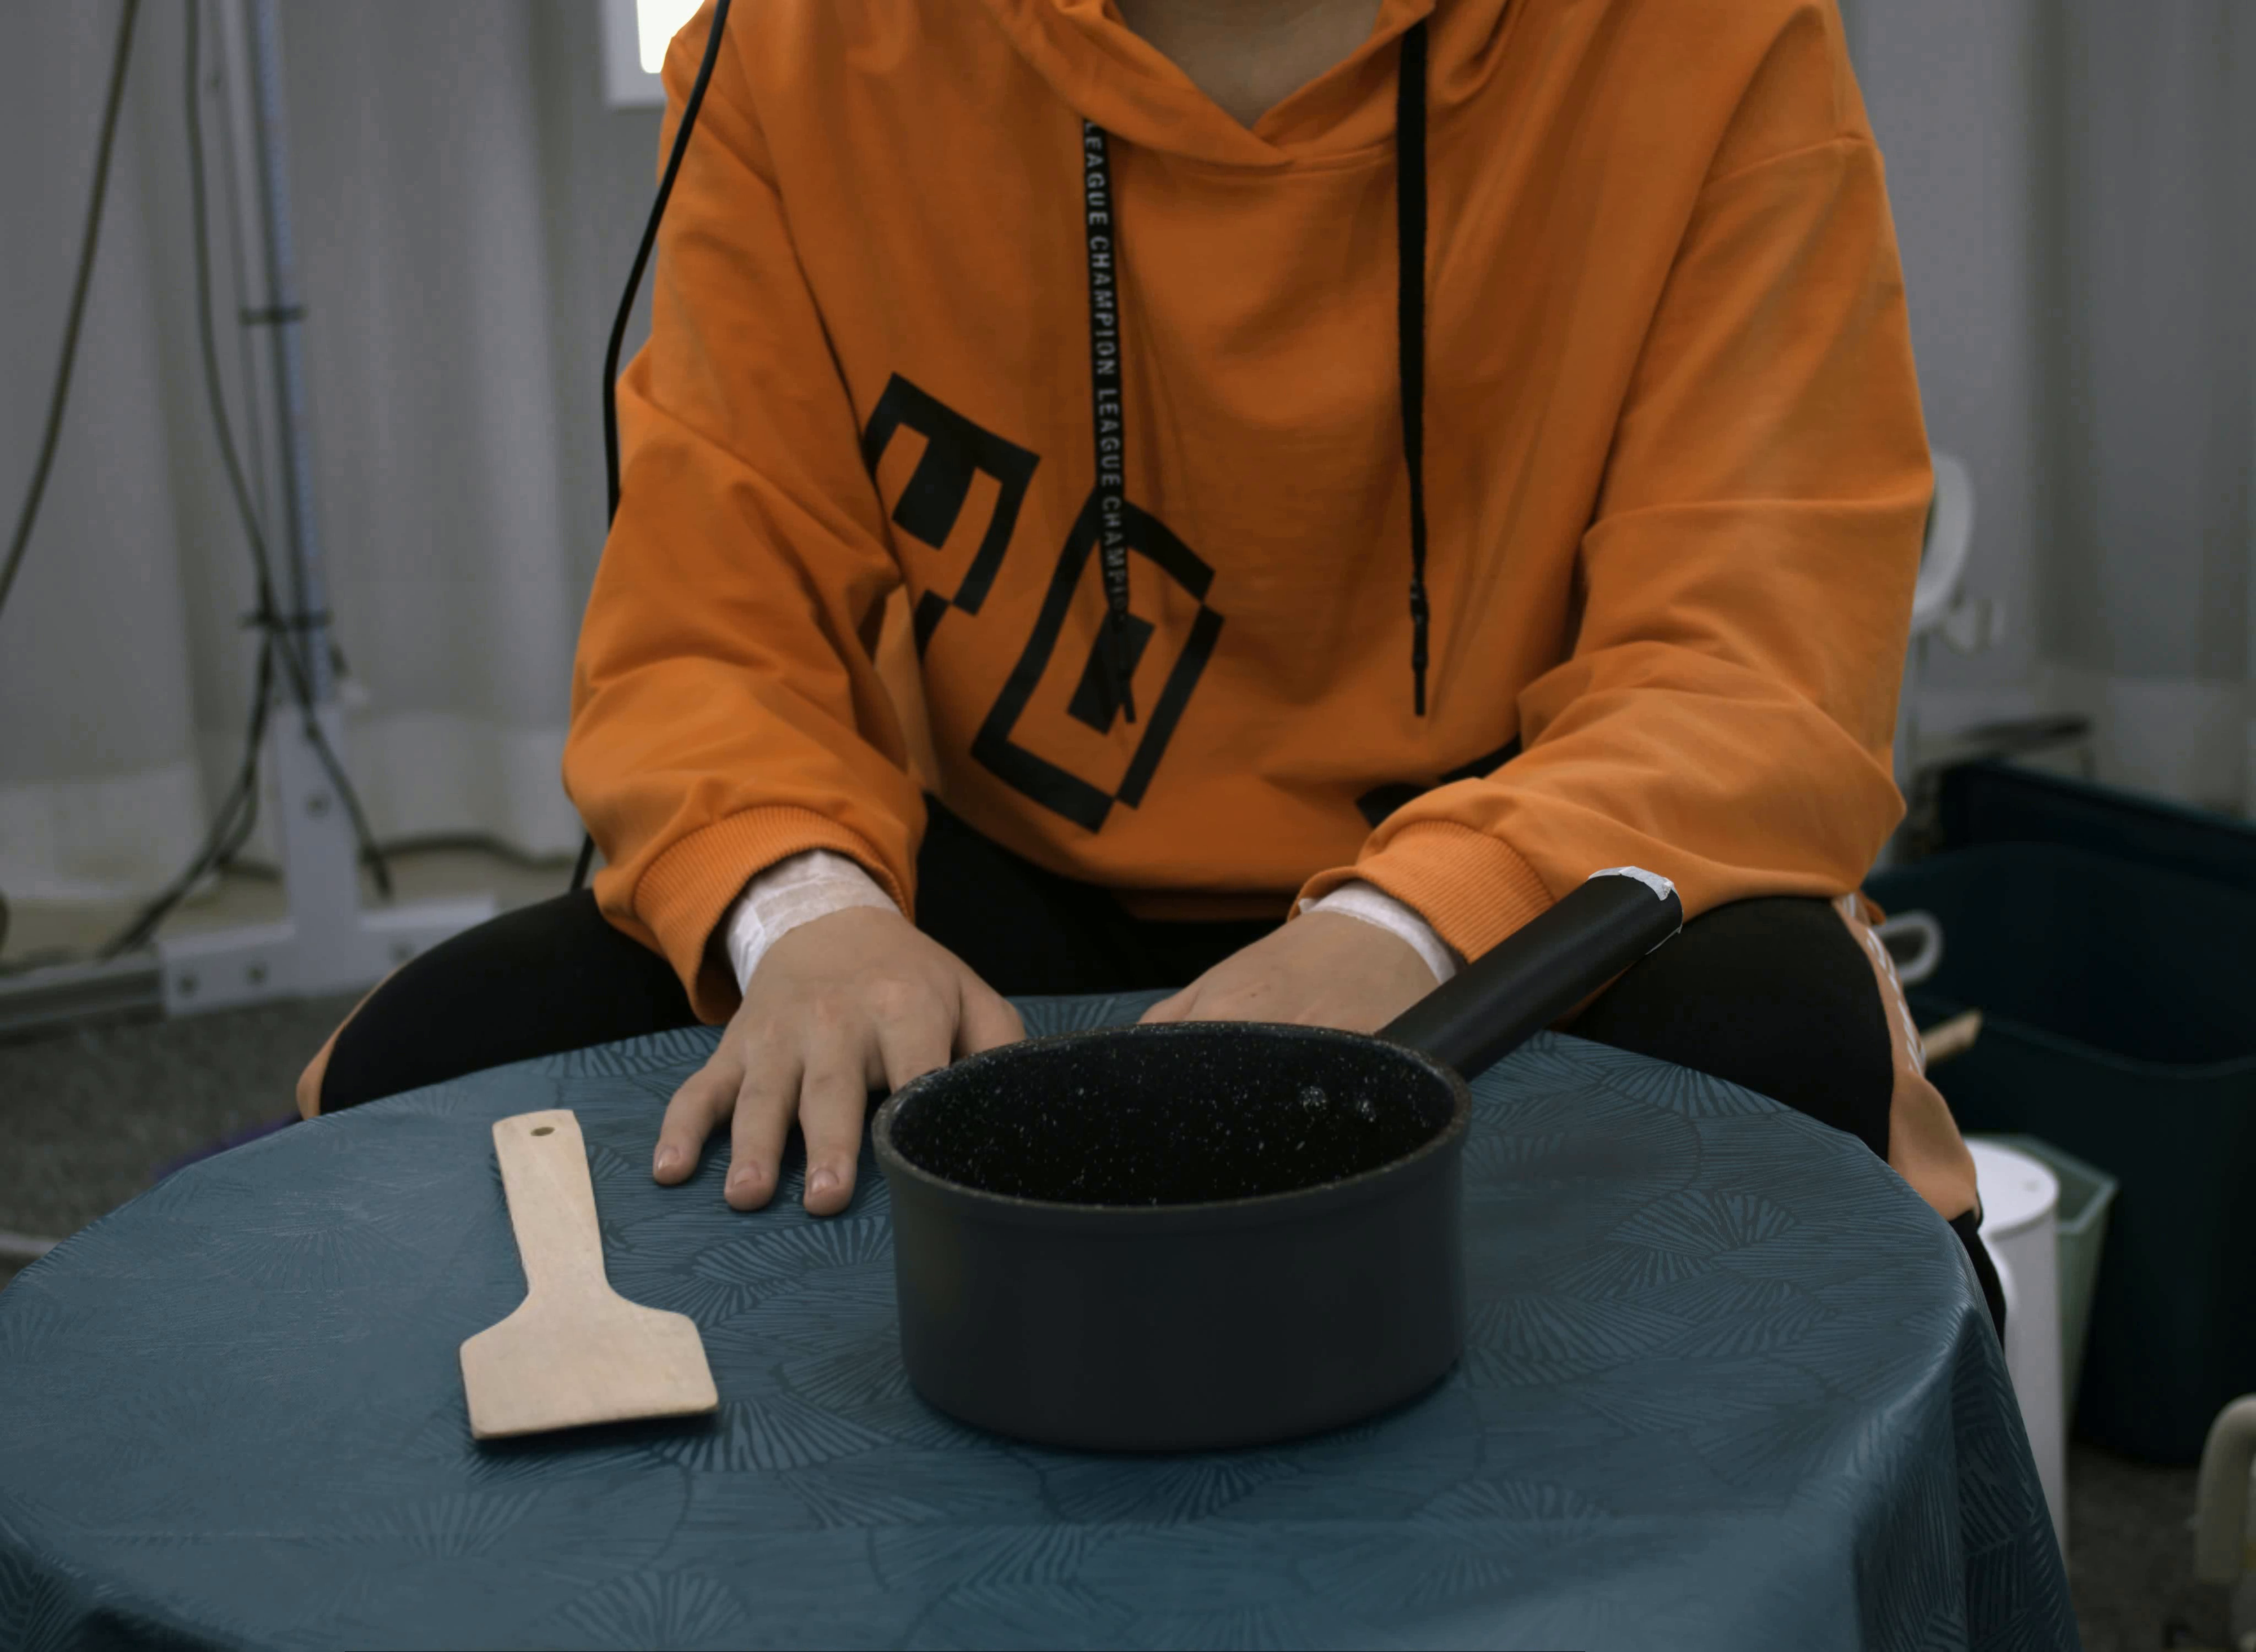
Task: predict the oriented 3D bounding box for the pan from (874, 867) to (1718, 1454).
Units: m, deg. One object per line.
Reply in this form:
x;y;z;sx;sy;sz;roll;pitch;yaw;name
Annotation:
0.066;0.095;1.616;0.173;0.086;0.328;11;22;40;pan

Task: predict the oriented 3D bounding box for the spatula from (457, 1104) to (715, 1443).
-0.172;0.133;1.665;0.072;0.010;0.295;-8;16;-7;spatula
